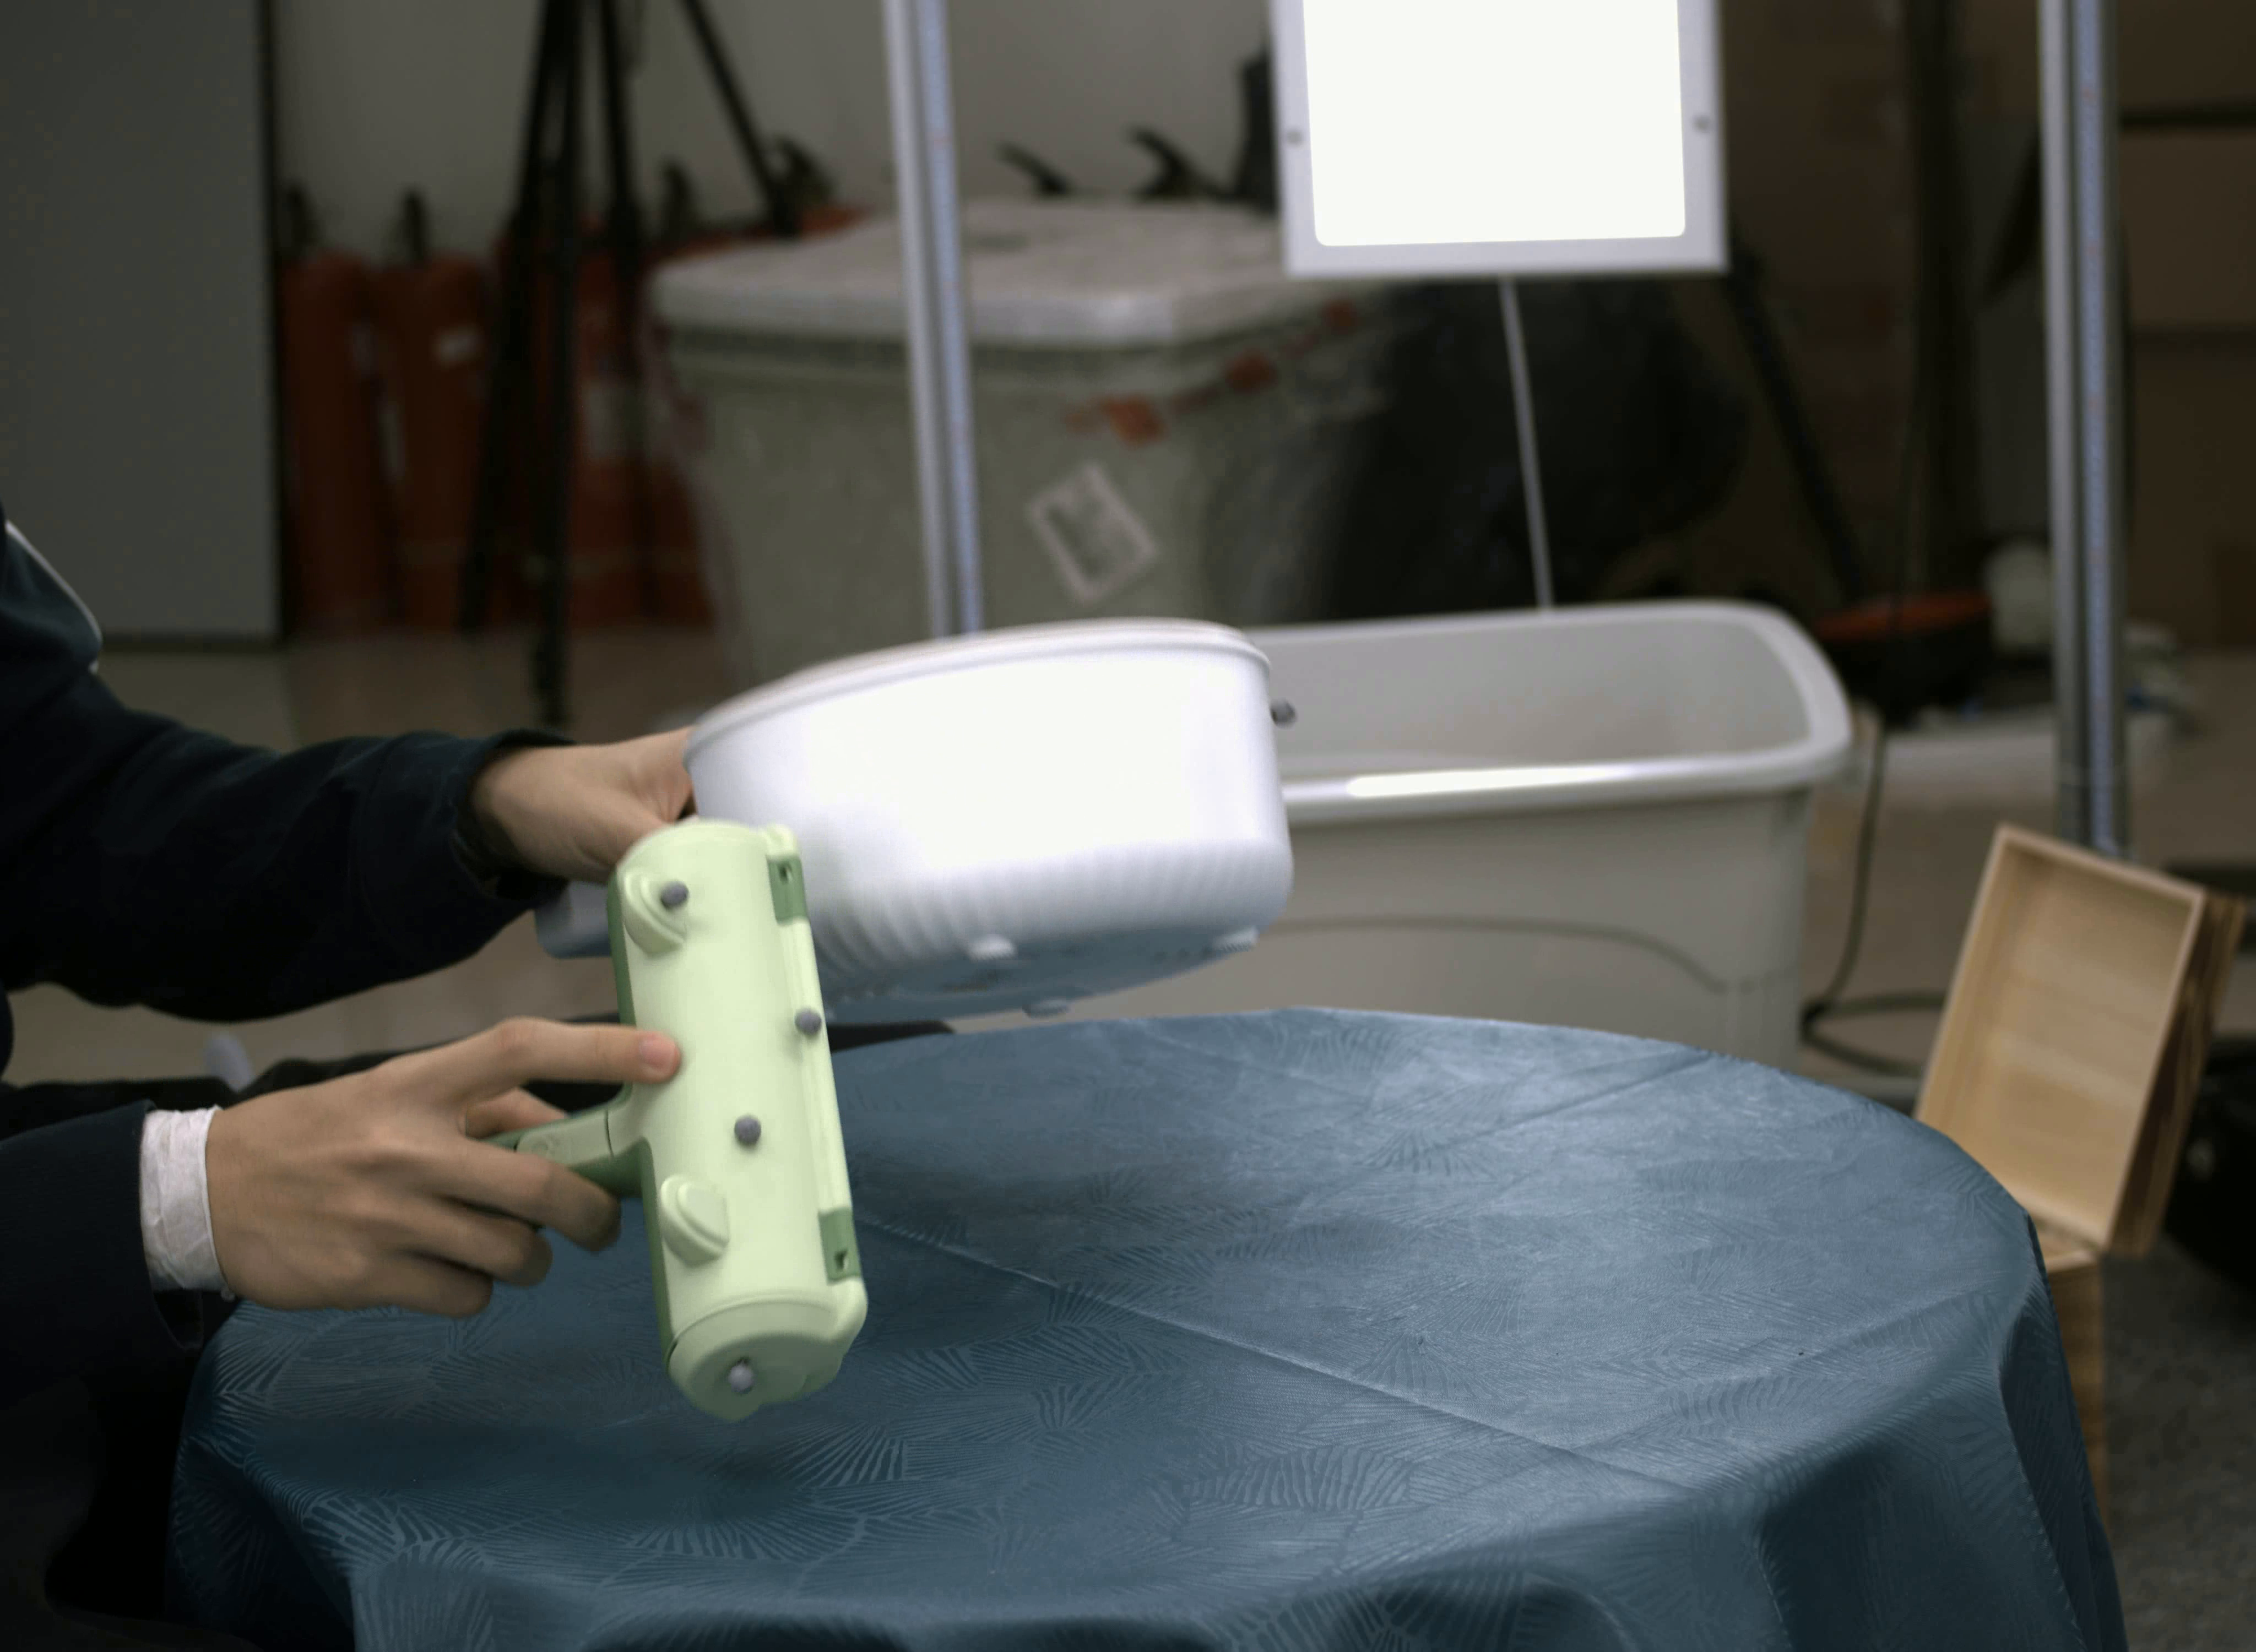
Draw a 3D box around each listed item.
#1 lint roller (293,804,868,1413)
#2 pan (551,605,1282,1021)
[{"bbox_3d":[-0.180,0.094,1.701,0.184,0.082,0.199,-16,55,6],"label":"lint roller"},{"bbox_3d":[-0.092,0.022,1.907,0.196,0.102,0.363,-2,-14,-37],"label":"pan"}]
